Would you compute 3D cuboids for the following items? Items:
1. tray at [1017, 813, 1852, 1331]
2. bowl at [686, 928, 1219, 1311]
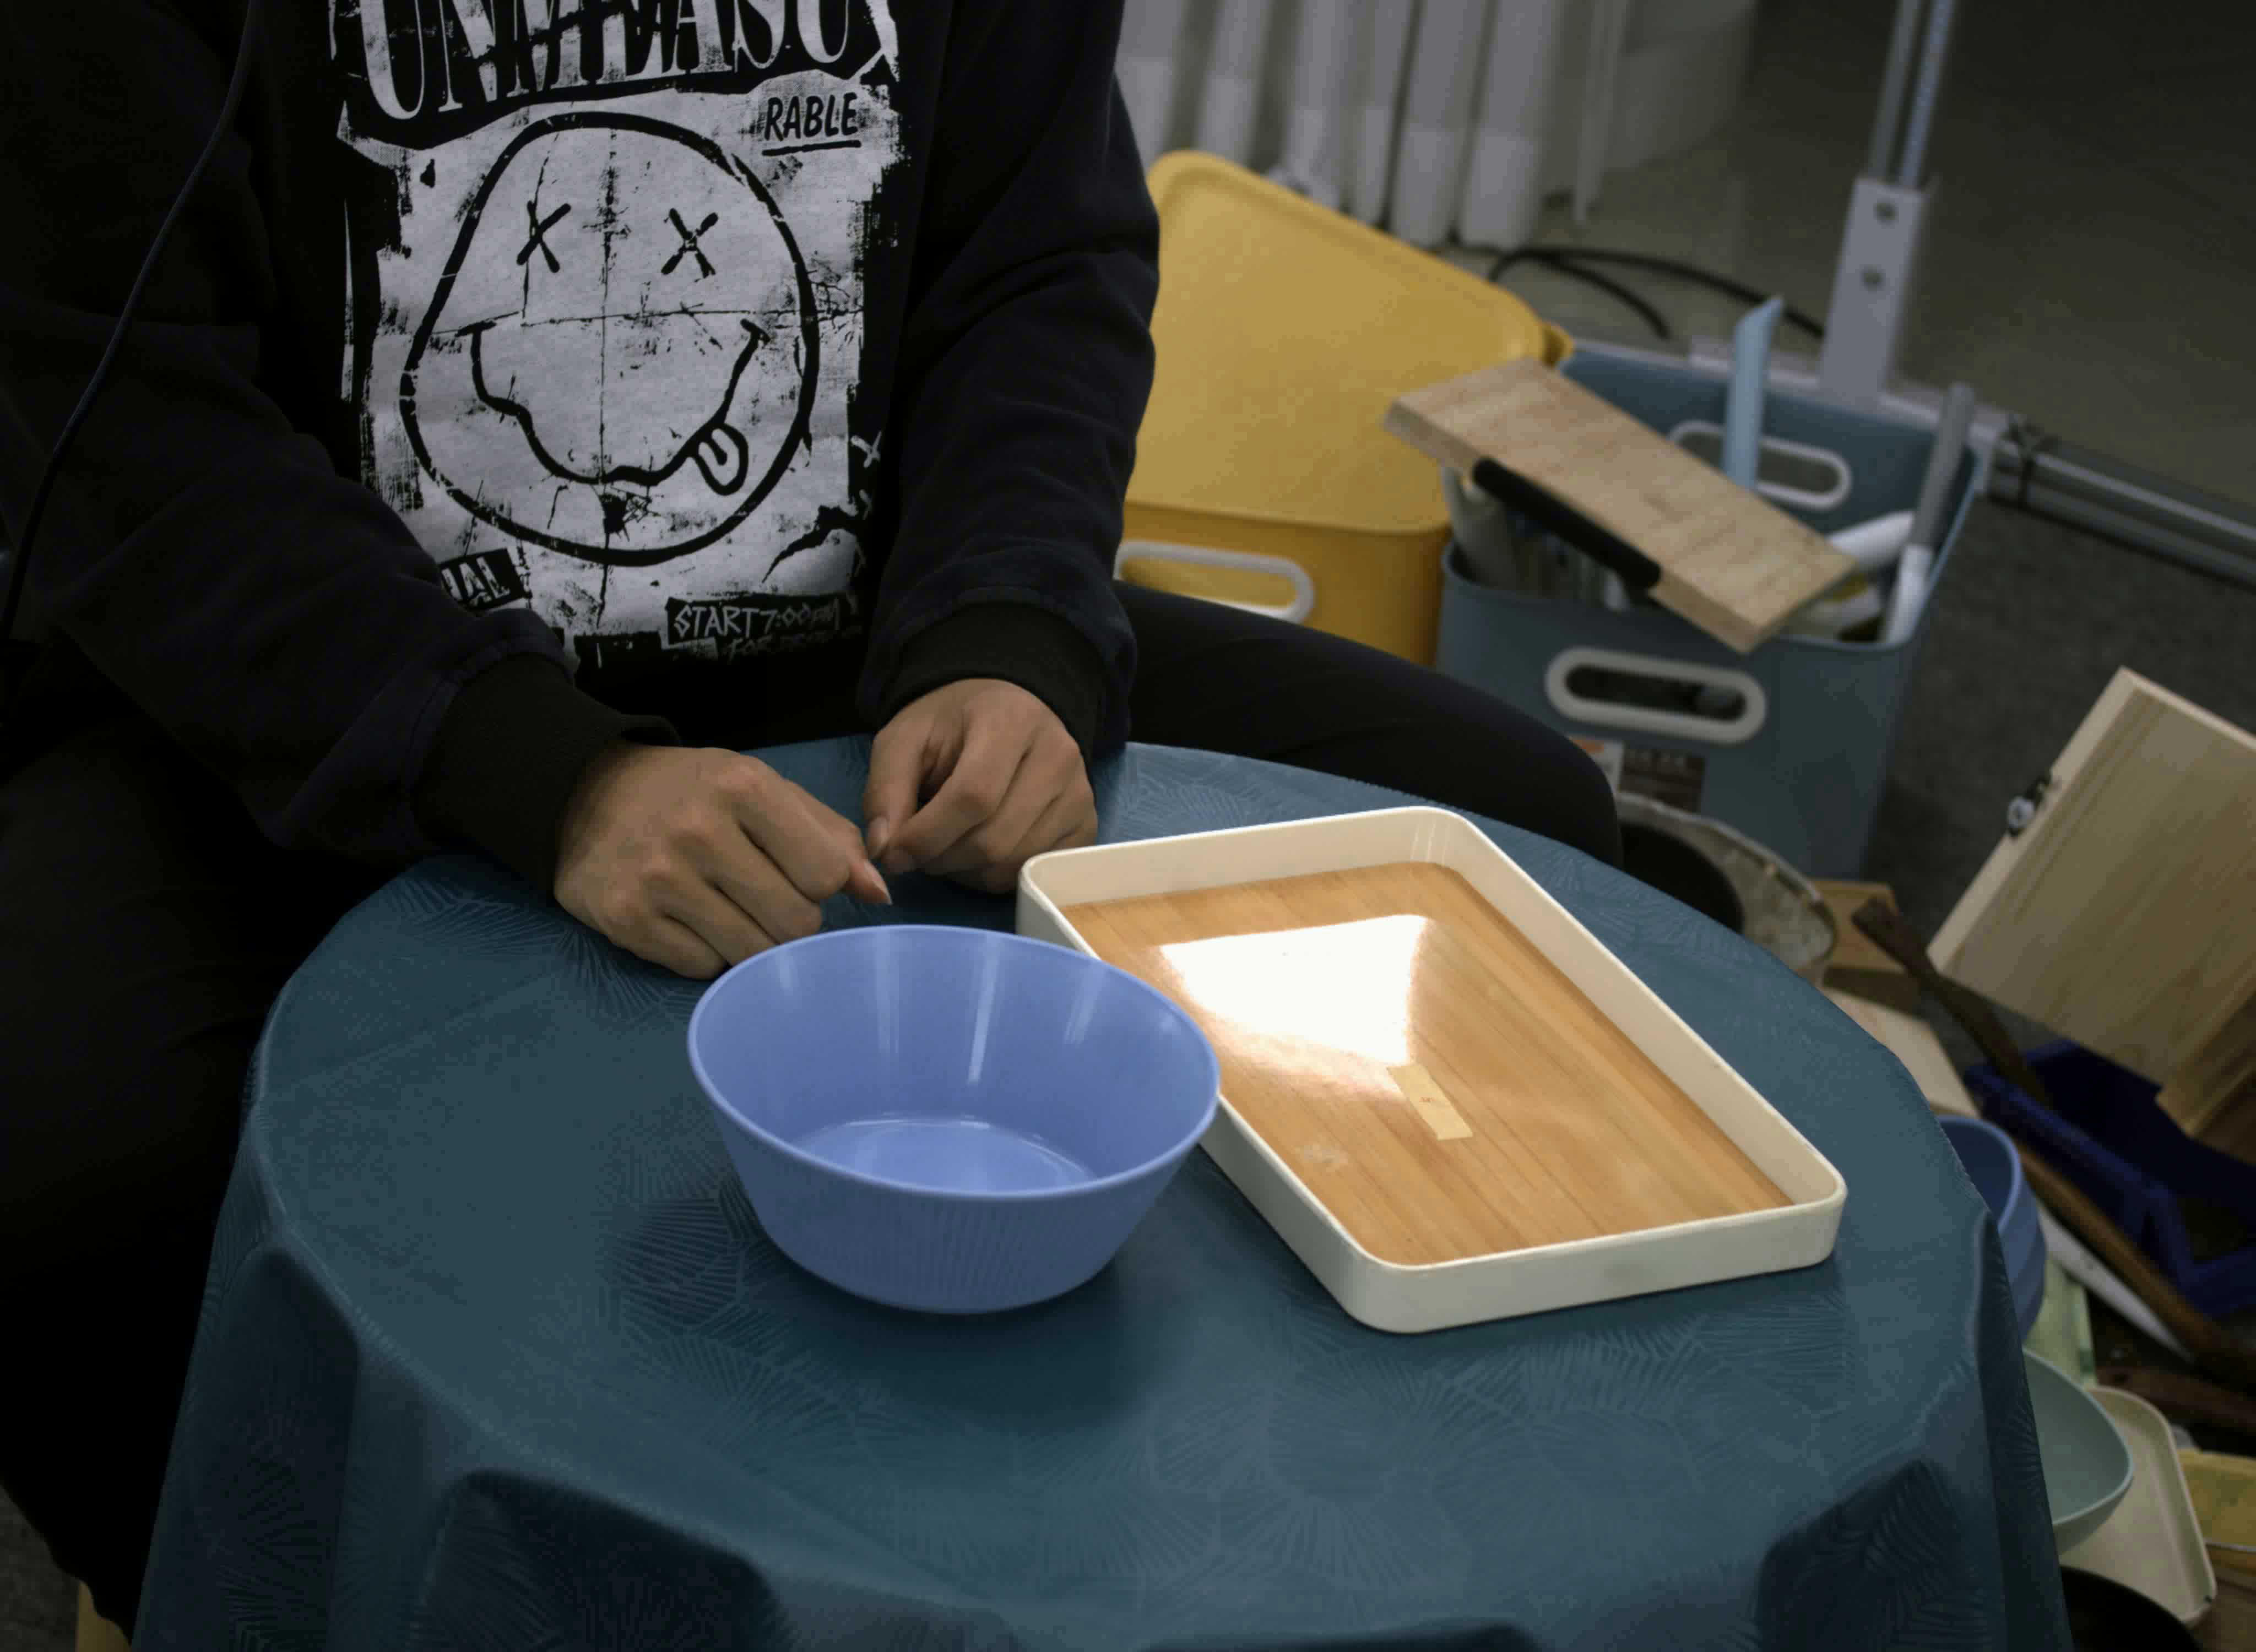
[{"bbox_3d":[0.102,0.081,1.879,0.190,0.027,0.303,-6,29,-25],"label":"tray"},{"bbox_3d":[-0.061,0.102,1.750,0.175,0.070,0.177,6,26,-3],"label":"bowl"}]
